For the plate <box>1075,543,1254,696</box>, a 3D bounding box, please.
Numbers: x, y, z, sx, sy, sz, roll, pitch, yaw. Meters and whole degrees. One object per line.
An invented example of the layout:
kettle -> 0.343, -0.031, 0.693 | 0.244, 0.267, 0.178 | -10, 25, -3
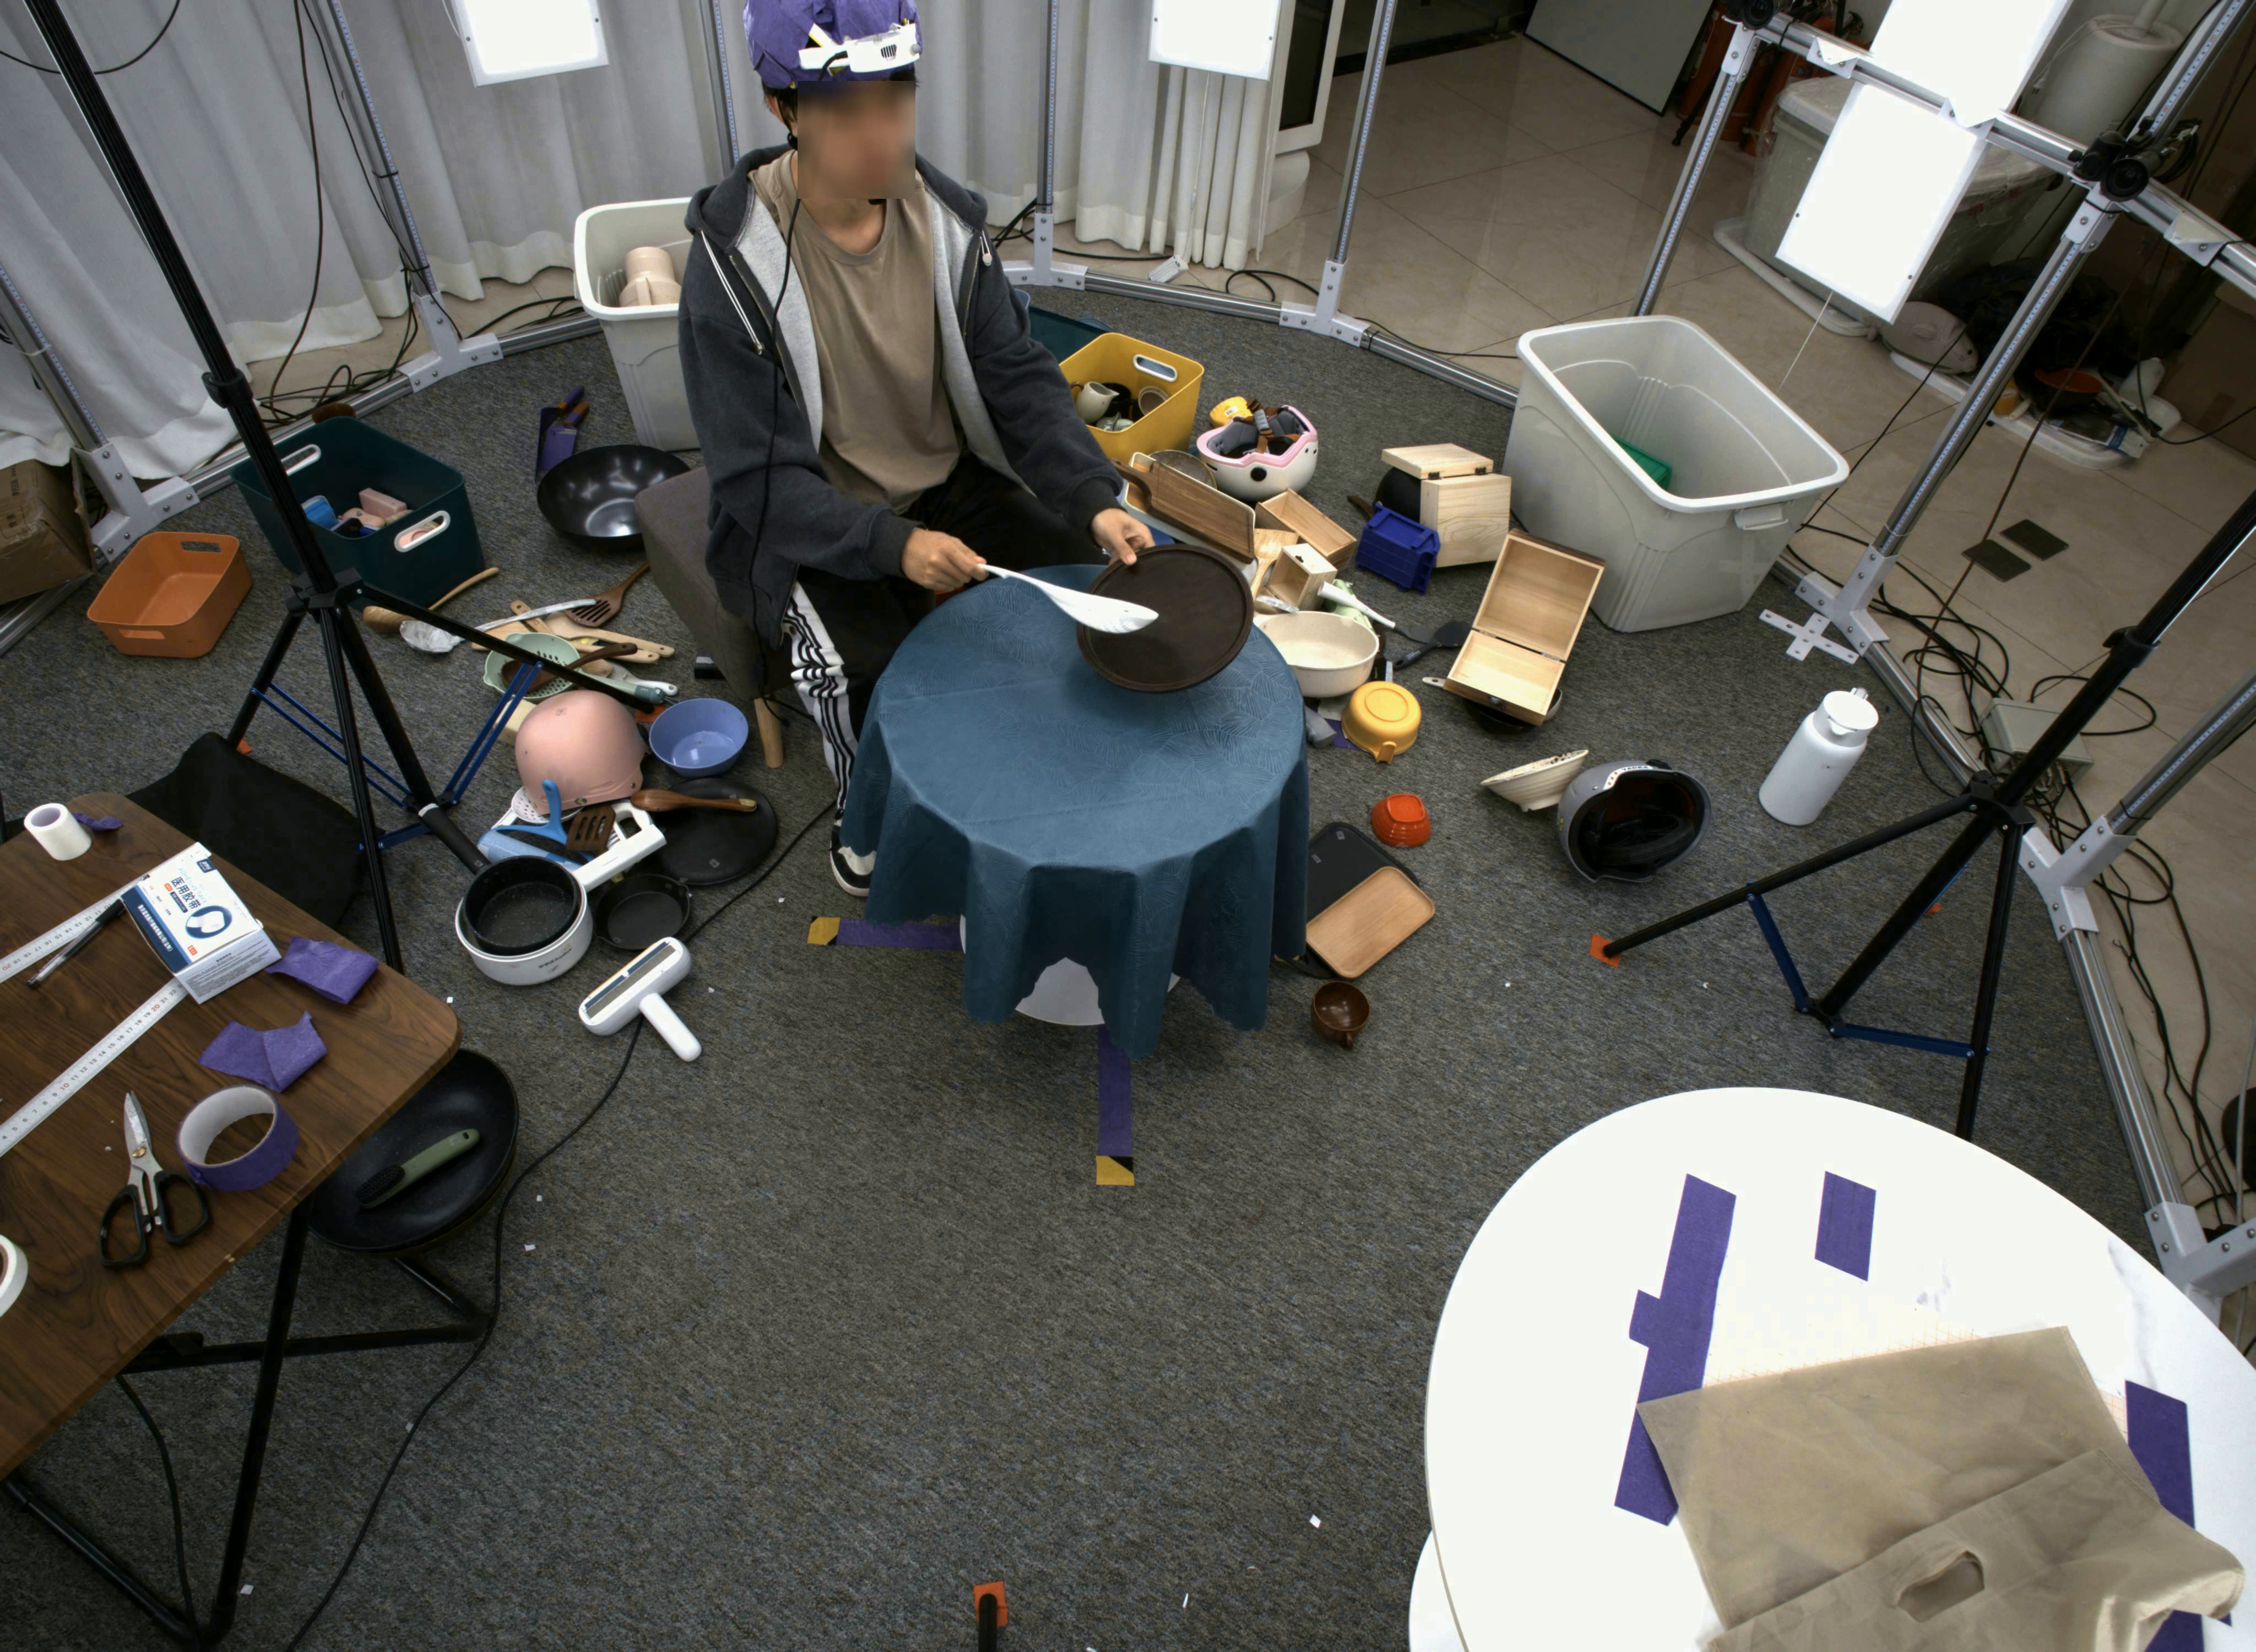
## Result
plate -> 0.050, -0.289, 1.801 | 0.255, 0.028, 0.260 | -6, 61, 10

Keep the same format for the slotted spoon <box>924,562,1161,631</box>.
slotted spoon -> -0.122, -0.323, 1.750 | 0.351, 0.050, 0.137 | 23, 15, 20
